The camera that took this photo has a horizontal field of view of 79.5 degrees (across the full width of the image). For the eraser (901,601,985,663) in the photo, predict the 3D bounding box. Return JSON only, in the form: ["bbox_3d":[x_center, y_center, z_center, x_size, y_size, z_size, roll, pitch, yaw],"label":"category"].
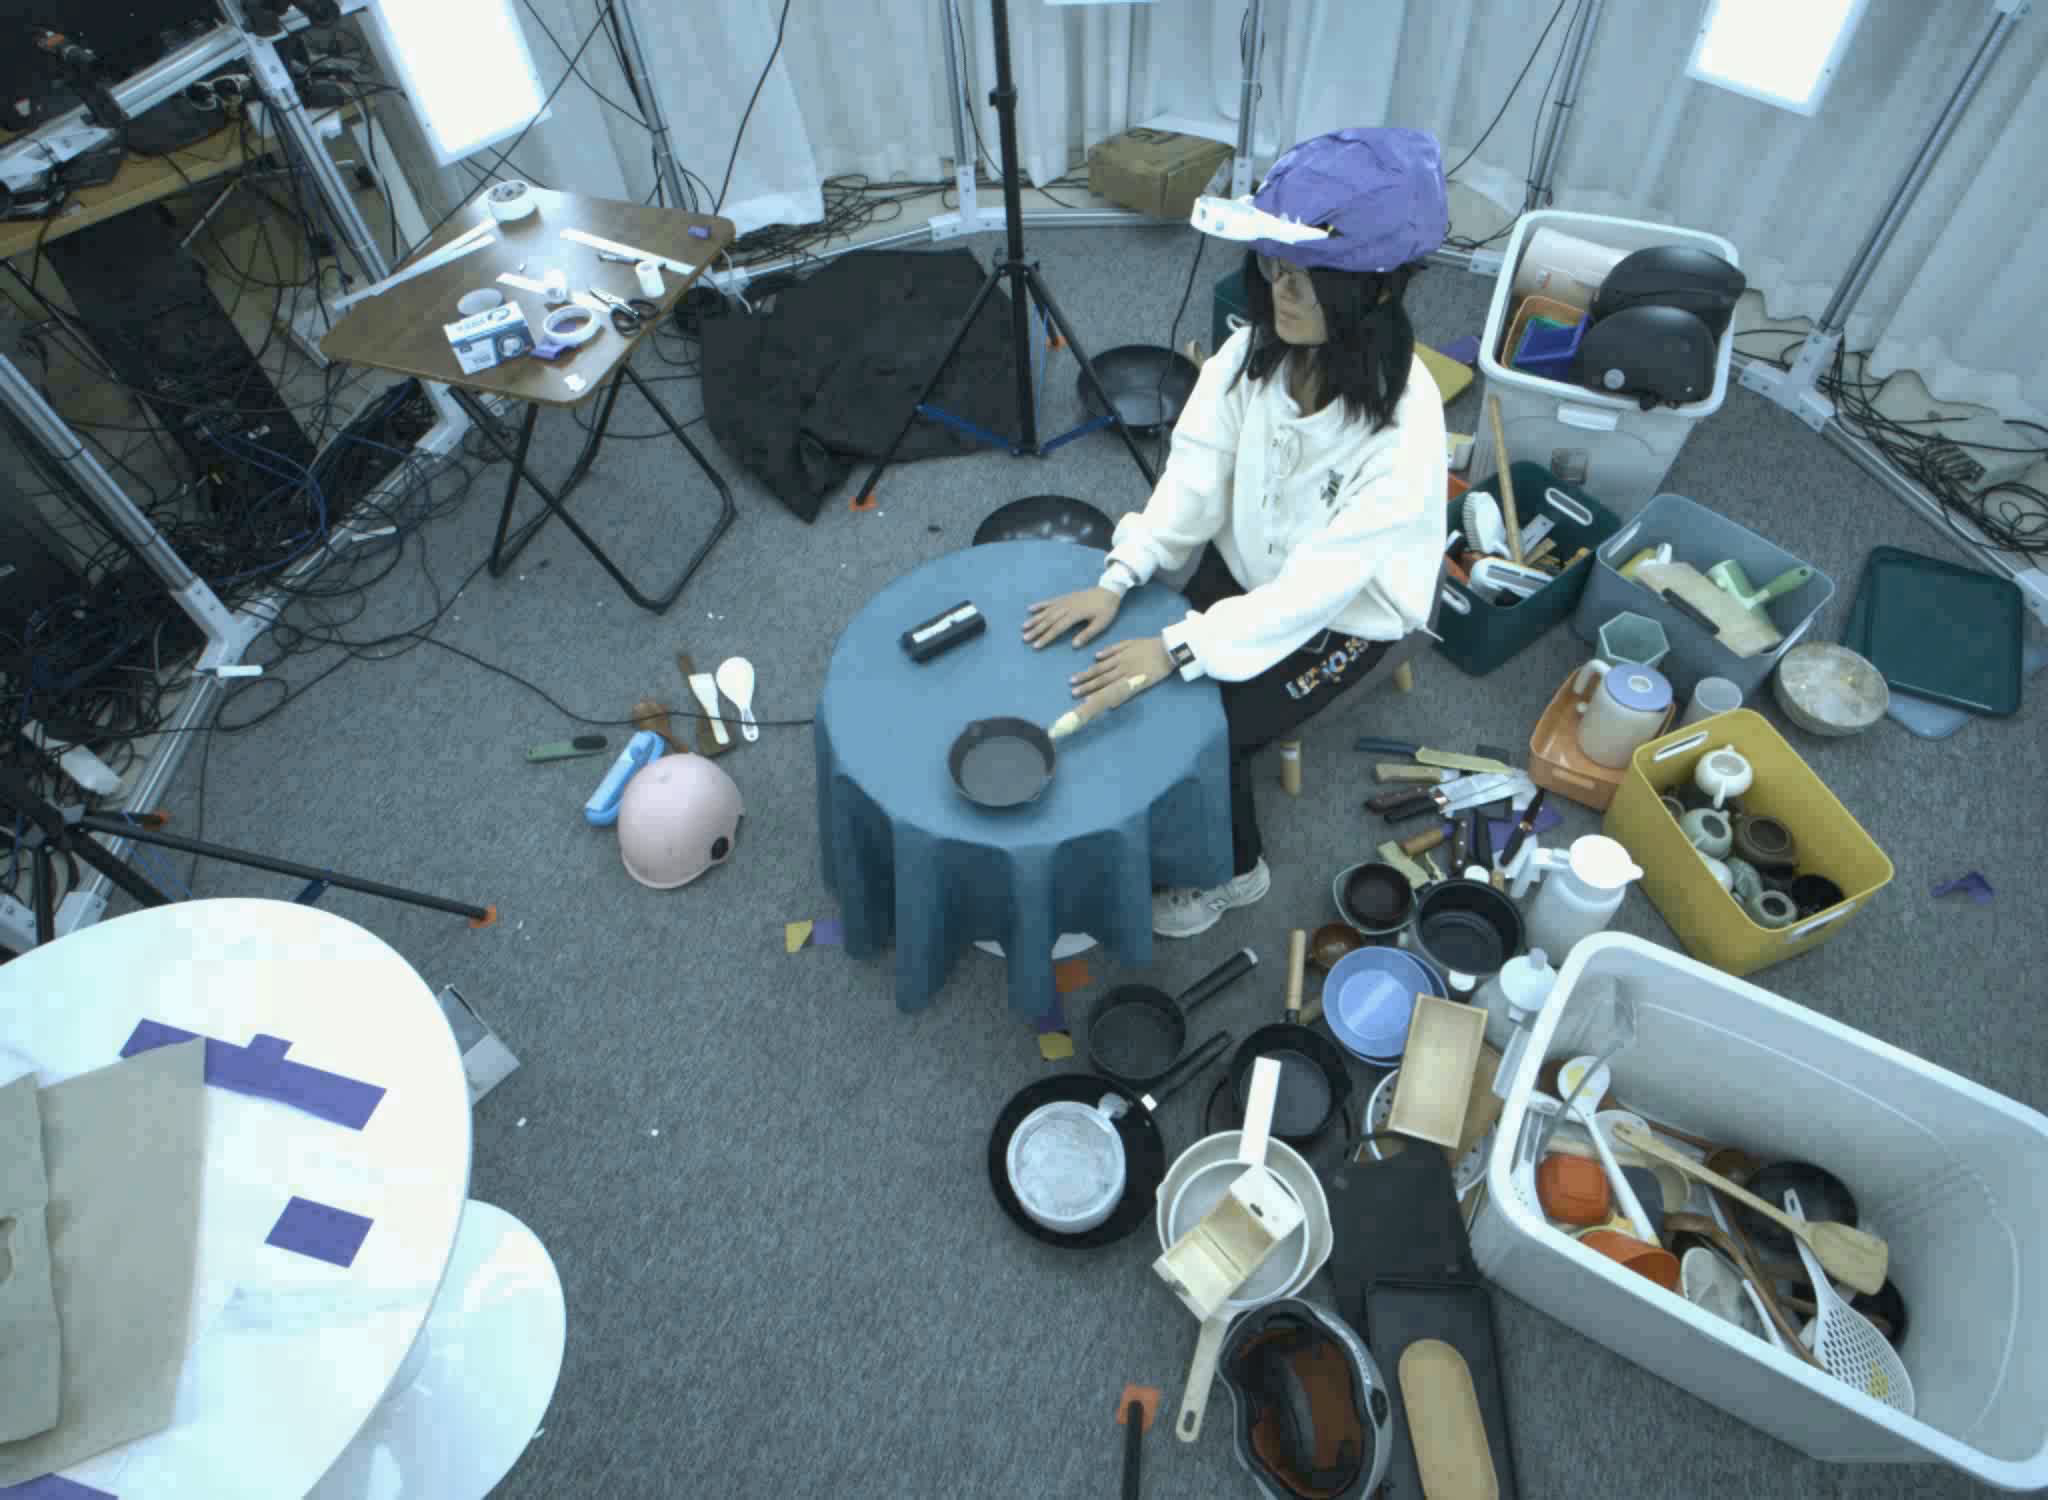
[{"bbox_3d":[-0.126,-0.184,1.905,0.126,0.031,0.052,-29,59,-18],"label":"eraser"}]

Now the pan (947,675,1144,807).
[{"bbox_3d":[0.041,-0.022,1.771,0.326,0.050,0.165,-29,57,-16],"label":"pan"}]
